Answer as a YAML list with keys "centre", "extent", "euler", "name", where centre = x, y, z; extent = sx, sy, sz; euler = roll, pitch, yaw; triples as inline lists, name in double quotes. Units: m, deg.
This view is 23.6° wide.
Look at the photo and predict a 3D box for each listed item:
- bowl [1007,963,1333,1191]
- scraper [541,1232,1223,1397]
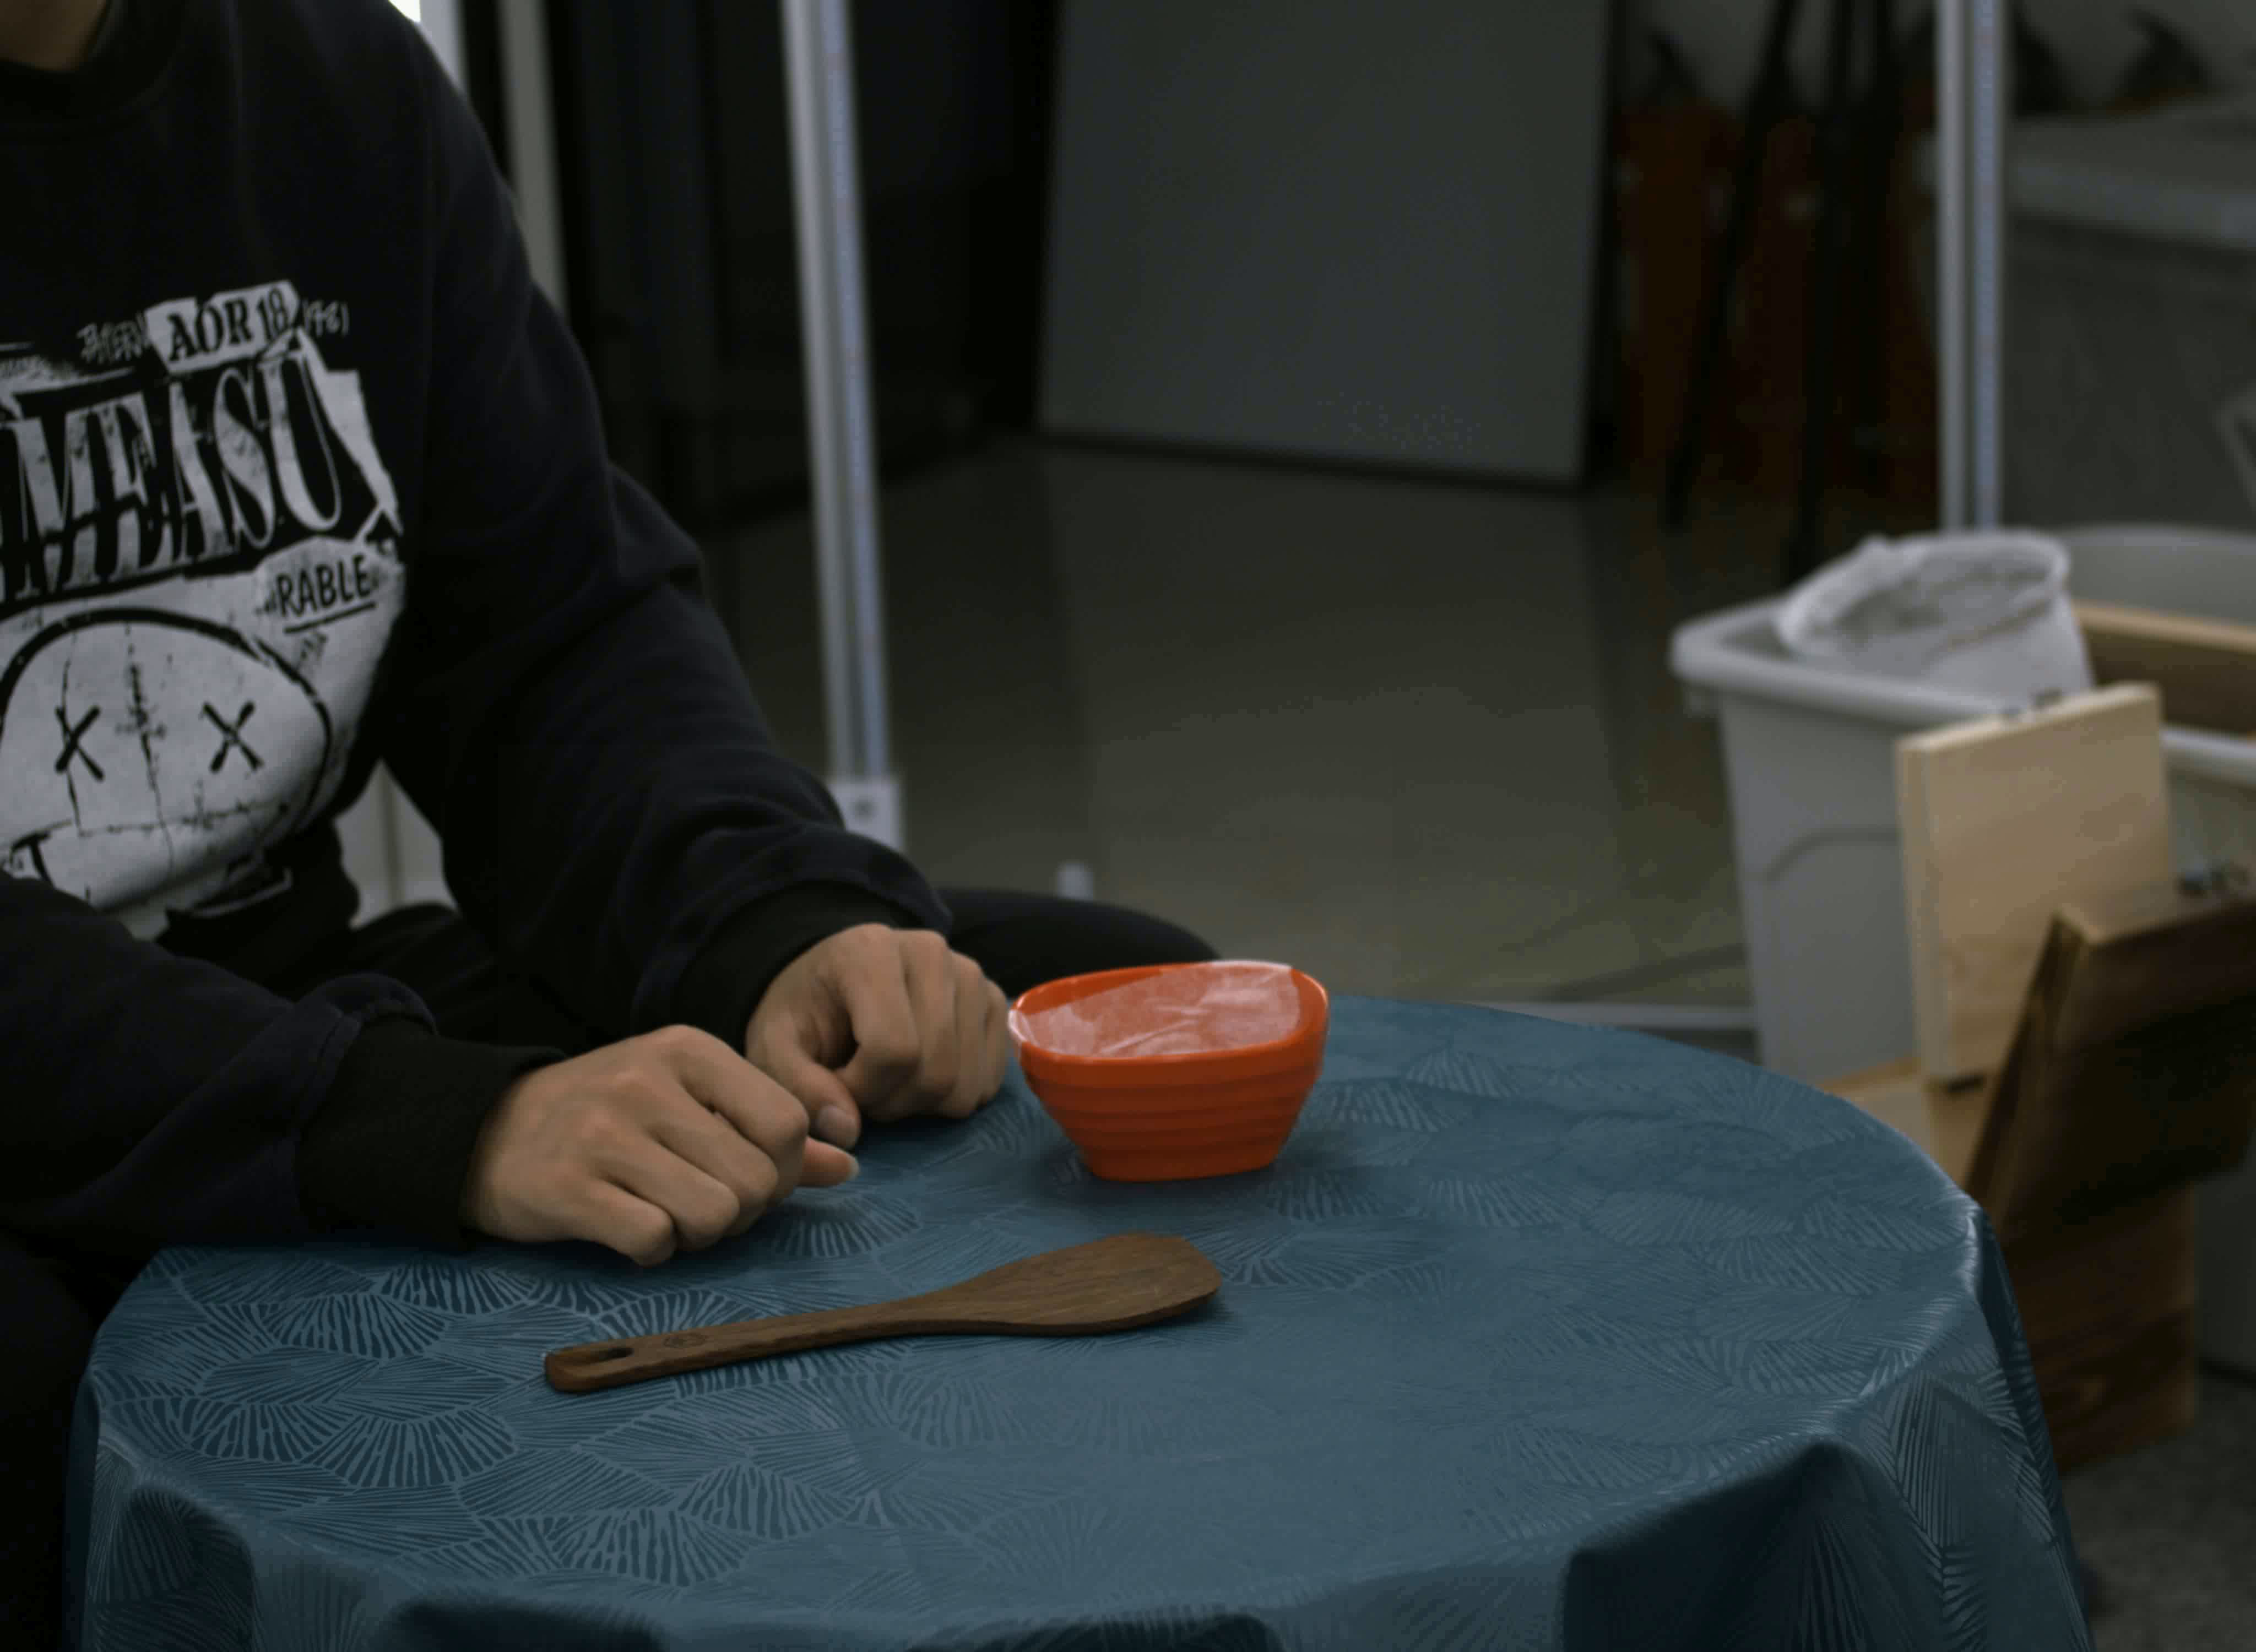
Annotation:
- centre: [0.015, 0.086, 1.805]
  extent: [0.117, 0.052, 0.119]
  euler: [-4, 15, 0]
  name: "bowl"
- centre: [-0.075, 0.153, 1.650]
  extent: [0.207, 0.011, 0.076]
  euler: [-8, 13, -14]
  name: "scraper"
